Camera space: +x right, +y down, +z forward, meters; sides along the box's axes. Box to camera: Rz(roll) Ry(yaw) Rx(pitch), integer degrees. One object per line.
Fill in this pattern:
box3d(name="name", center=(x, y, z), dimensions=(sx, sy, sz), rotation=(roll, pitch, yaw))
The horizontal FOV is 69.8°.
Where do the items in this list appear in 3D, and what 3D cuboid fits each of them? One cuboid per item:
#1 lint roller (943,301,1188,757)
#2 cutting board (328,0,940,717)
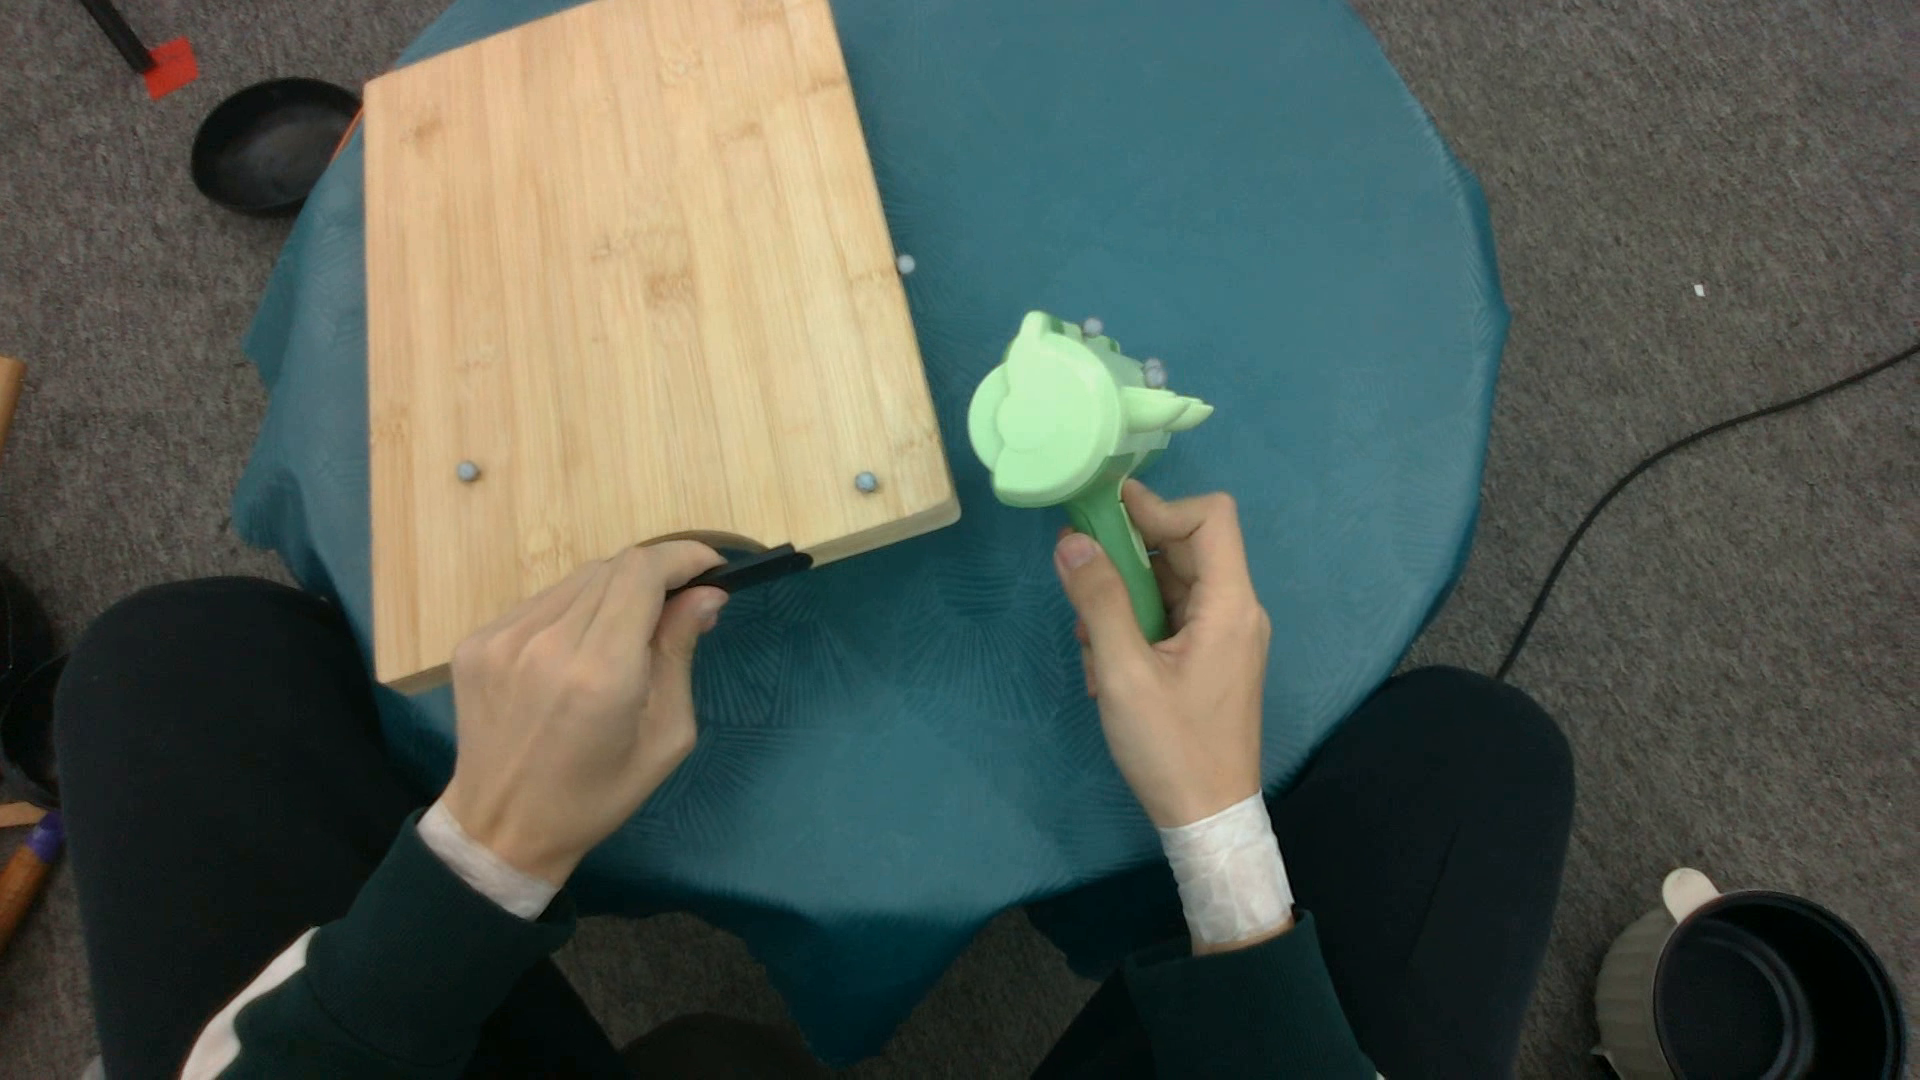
box3d(name="lint roller", center=(0.069, -0.007, 0.565), dimensions=(0.082, 0.199, 0.183), rotation=(-24, 88, 15))
box3d(name="cutting board", center=(-0.163, -0.118, 0.614), dimensions=(0.250, 0.023, 0.349), rotation=(-20, 62, 6))
